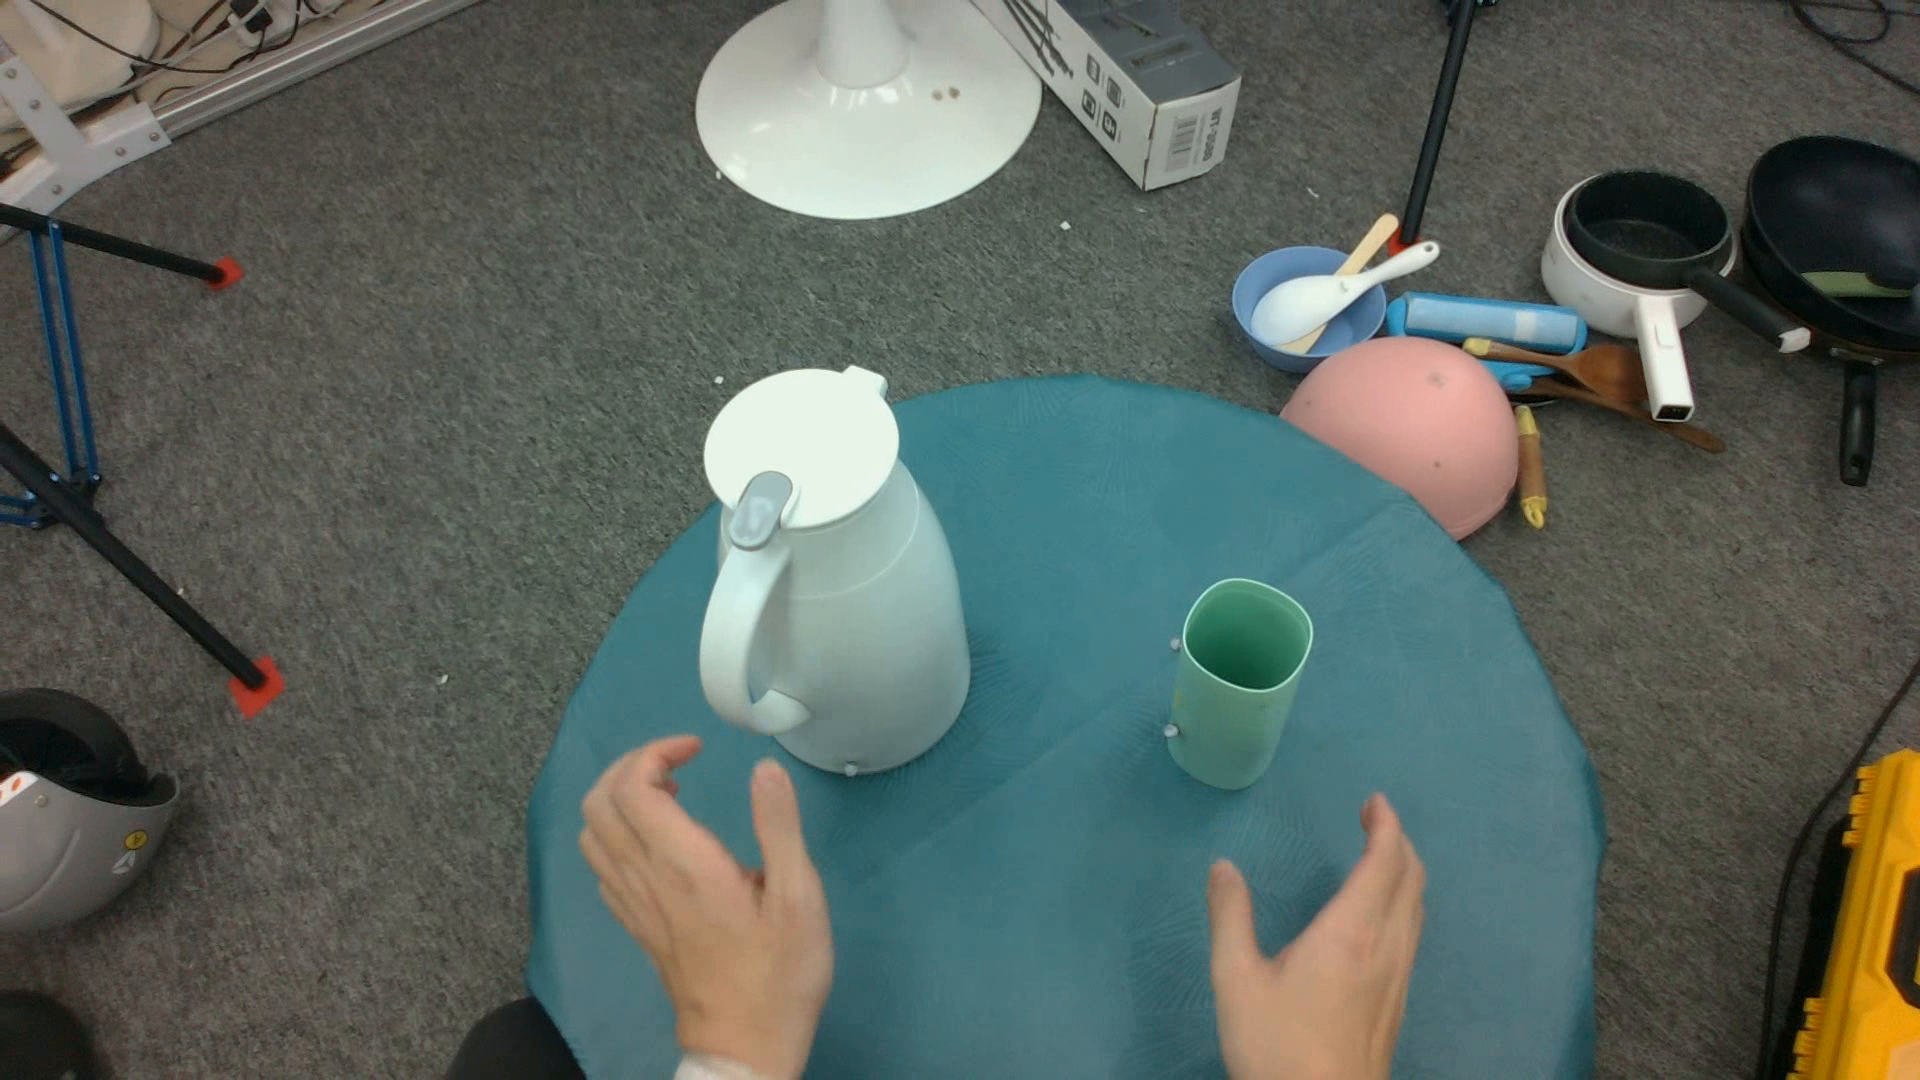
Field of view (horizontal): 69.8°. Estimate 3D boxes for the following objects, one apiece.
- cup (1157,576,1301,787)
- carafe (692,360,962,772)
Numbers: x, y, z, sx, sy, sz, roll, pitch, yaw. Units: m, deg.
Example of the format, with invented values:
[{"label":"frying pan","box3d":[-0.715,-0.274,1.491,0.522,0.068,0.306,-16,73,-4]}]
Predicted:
[{"label":"cup","box3d":[0.146,0.081,0.756,0.067,0.132,0.067,-2,58,3]},{"label":"carafe","box3d":[-0.078,0.030,0.728,0.132,0.247,0.168,20,62,15]}]
